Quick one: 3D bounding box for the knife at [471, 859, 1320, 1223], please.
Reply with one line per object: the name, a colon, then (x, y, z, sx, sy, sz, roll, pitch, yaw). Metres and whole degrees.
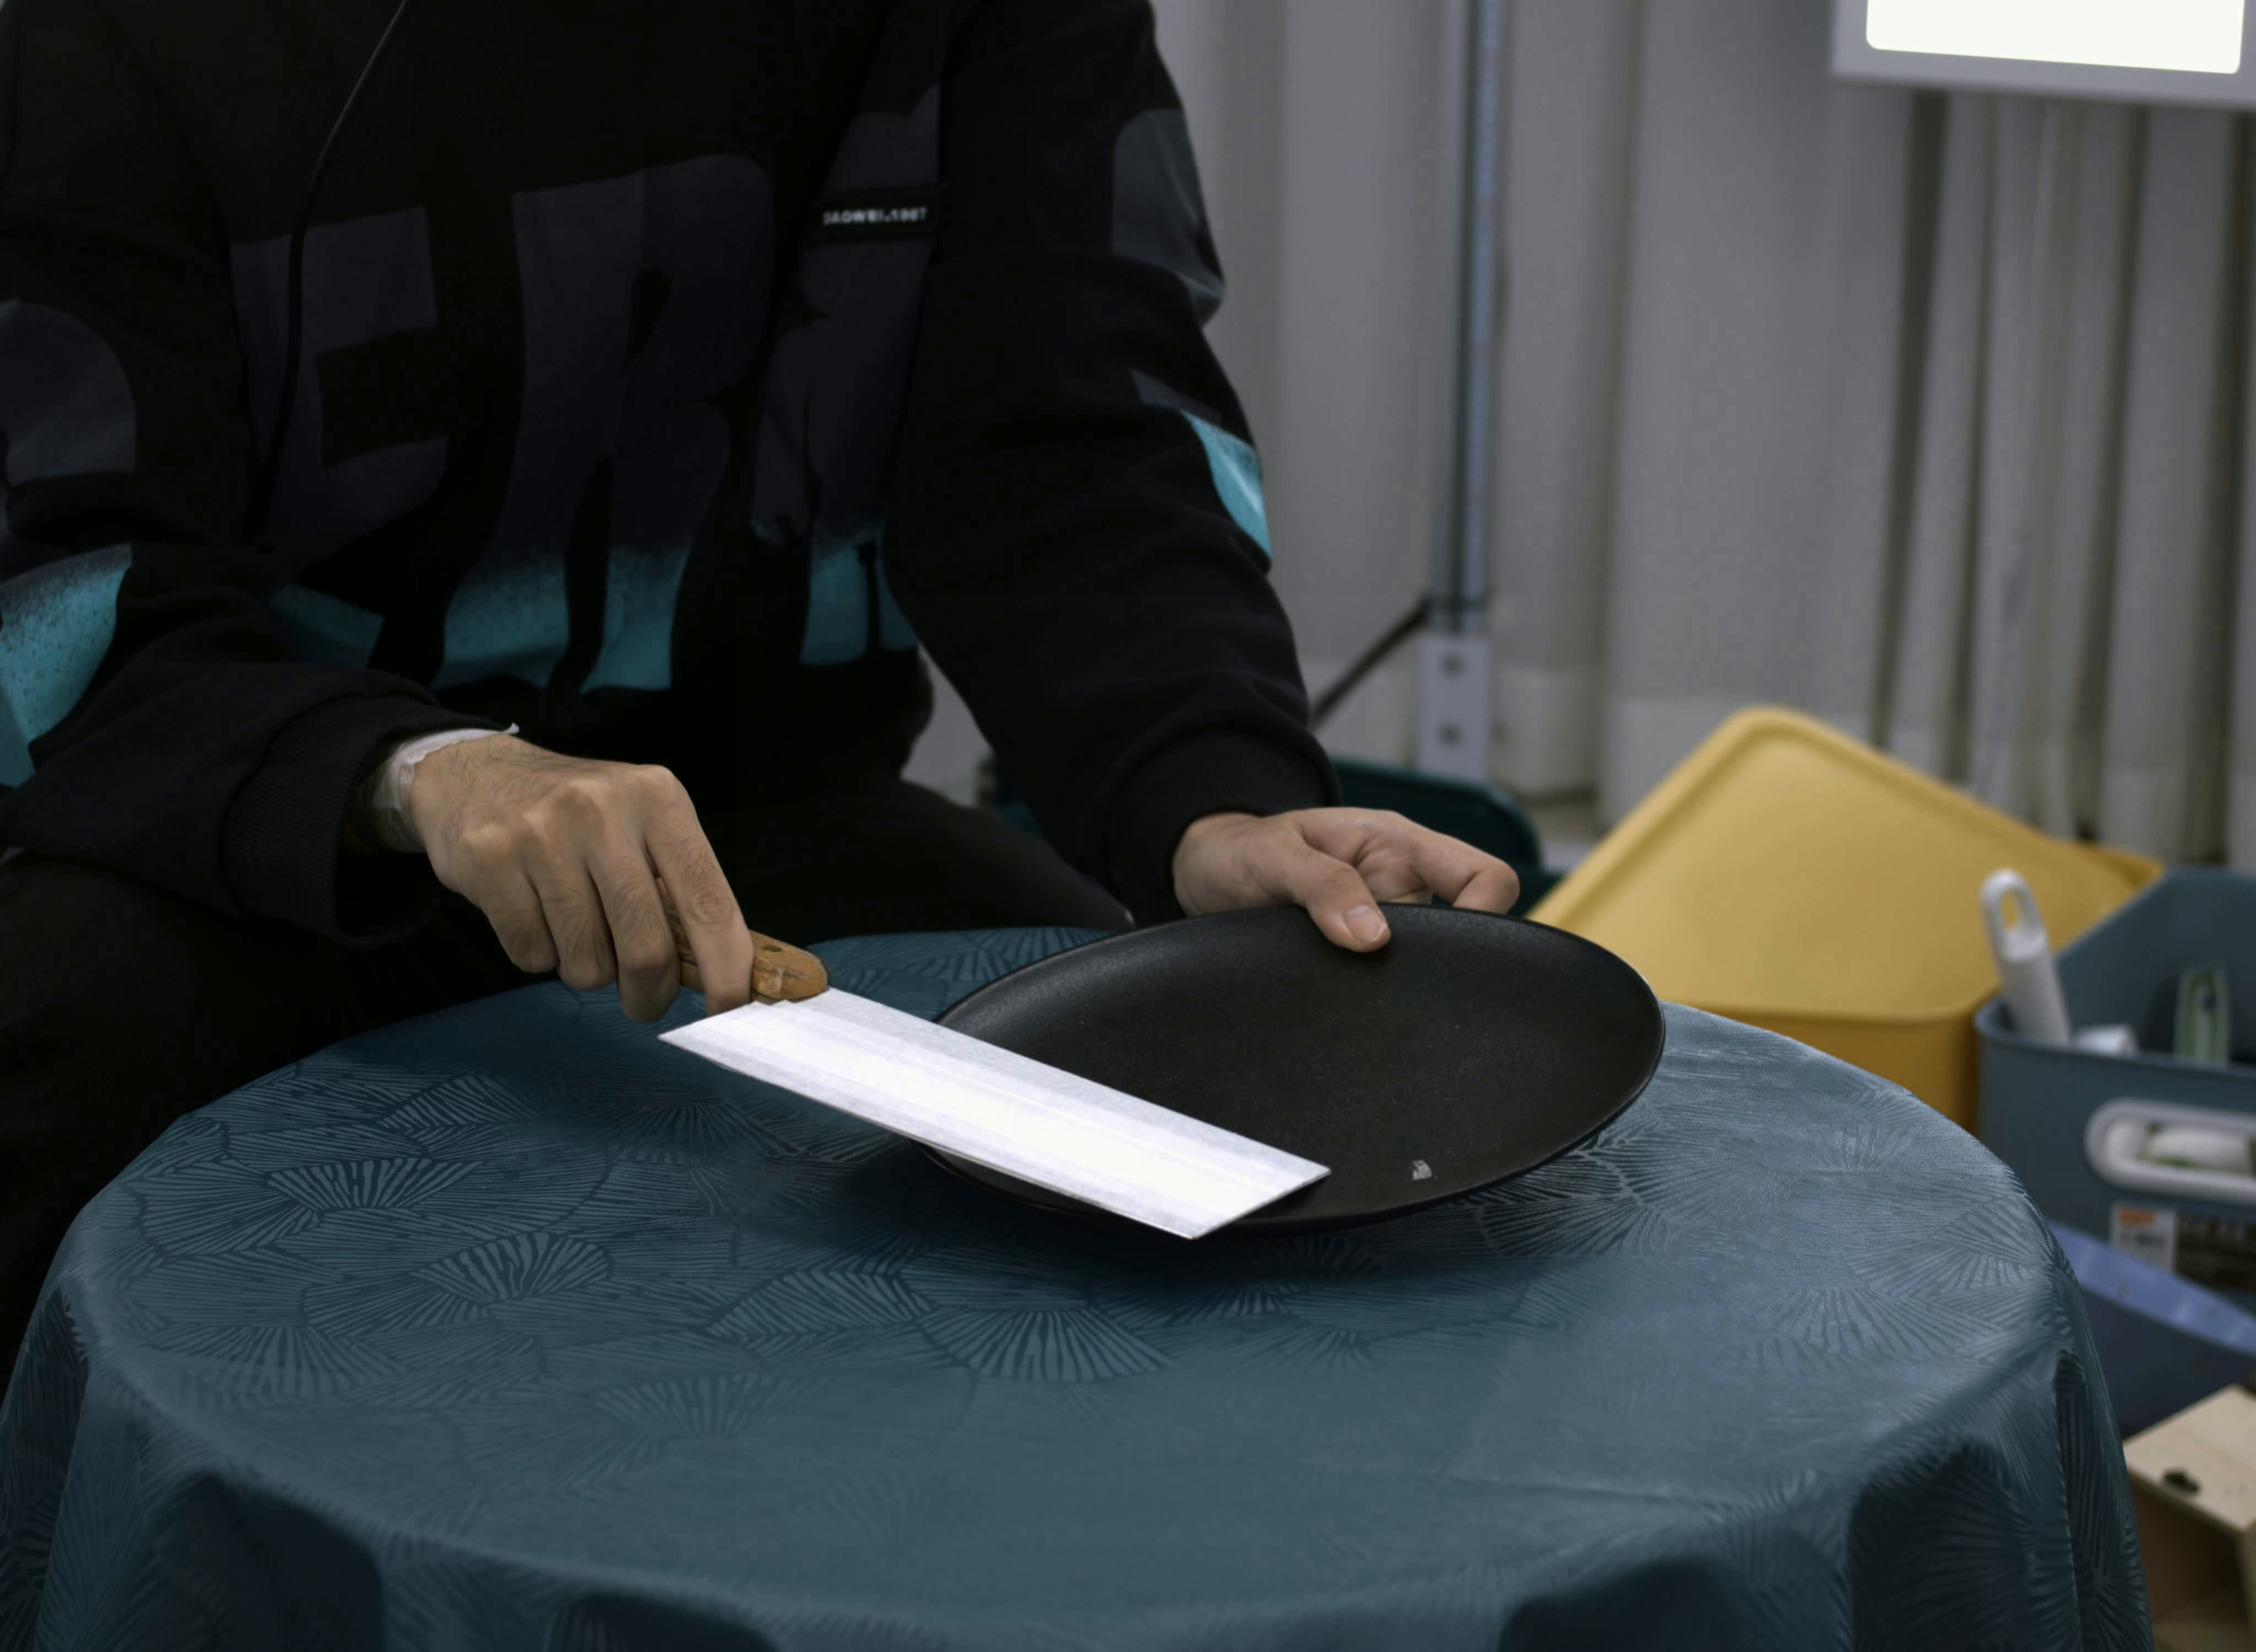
knife: (-0.088, 0.067, 1.617, 0.302, 0.021, 0.093, 19, 19, 25)

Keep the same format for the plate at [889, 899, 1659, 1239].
plate: (0.046, 0.080, 1.650, 0.243, 0.023, 0.243, -5, 21, 3)
